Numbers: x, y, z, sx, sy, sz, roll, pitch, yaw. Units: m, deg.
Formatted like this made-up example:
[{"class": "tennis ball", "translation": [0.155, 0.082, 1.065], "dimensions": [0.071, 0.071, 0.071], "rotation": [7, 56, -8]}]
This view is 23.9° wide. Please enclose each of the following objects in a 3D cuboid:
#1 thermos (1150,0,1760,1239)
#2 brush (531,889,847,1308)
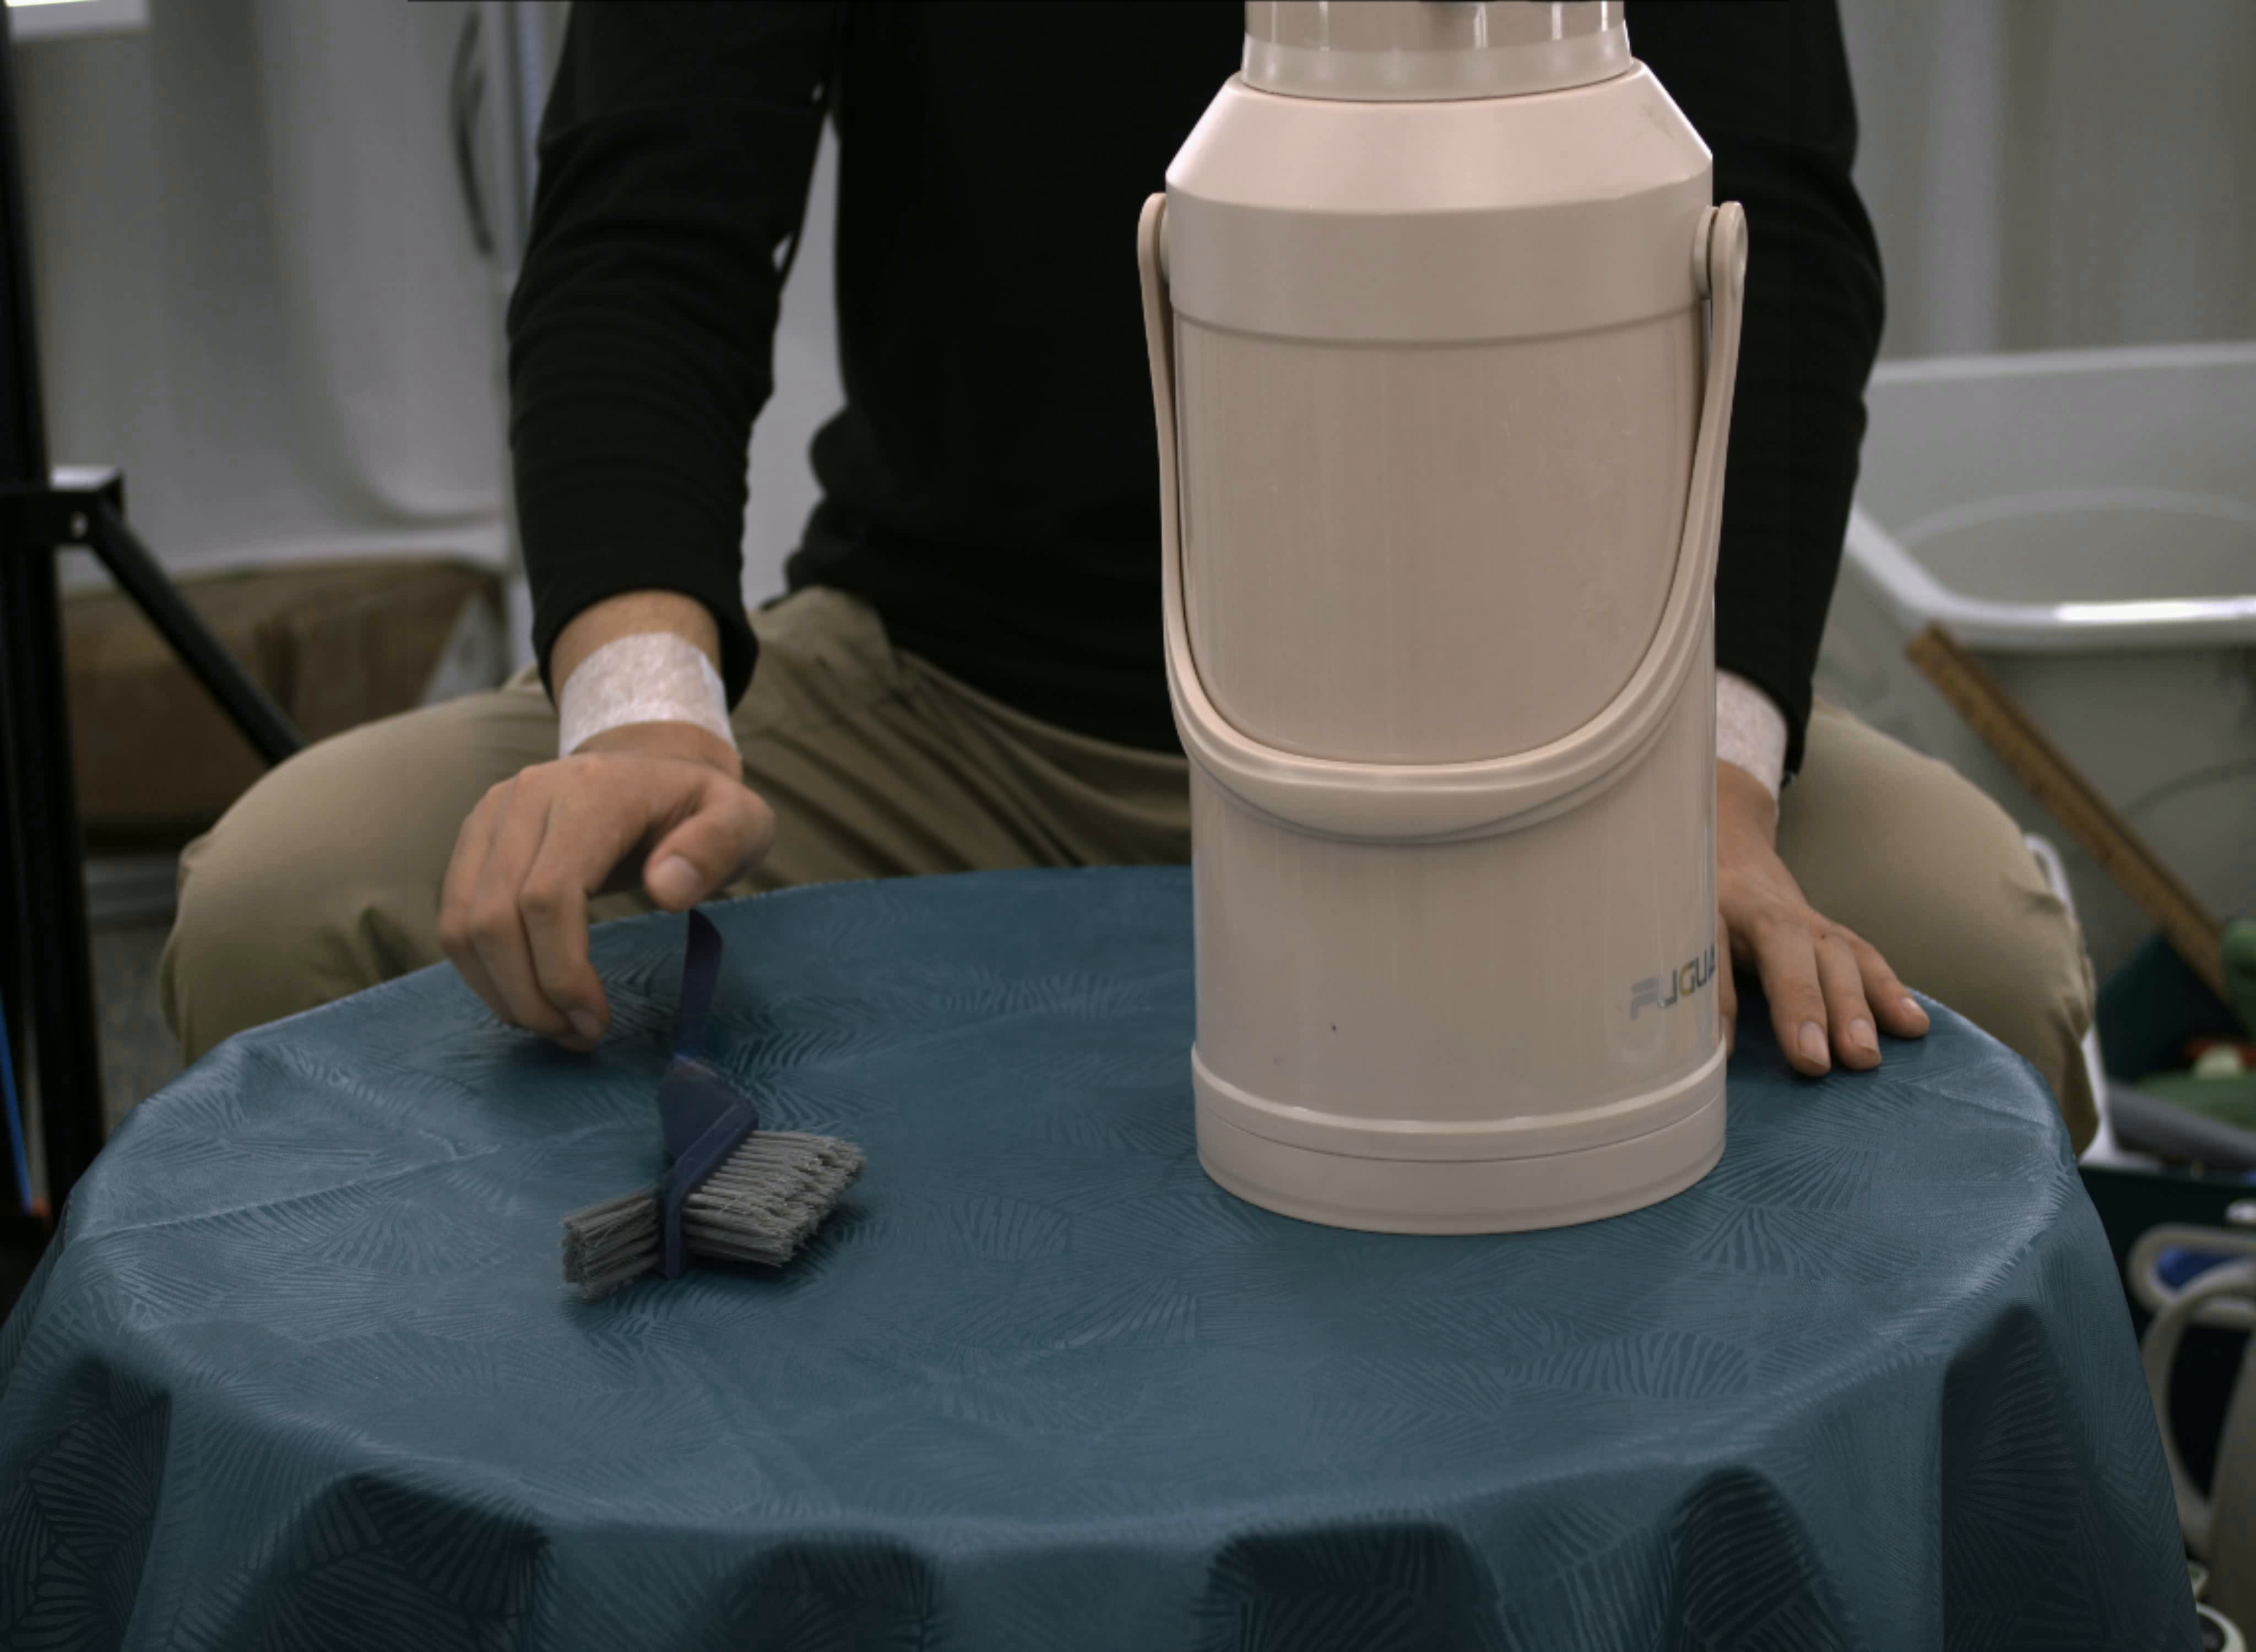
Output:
[{"class": "thermos", "translation": [0.101, -0.098, 1.544], "dimensions": [0.177, 0.406, 0.205], "rotation": [2, 16, 19]}, {"class": "brush", "translation": [-0.141, 0.079, 1.621], "dimensions": [0.095, 0.033, 0.276], "rotation": [-4, 18, -8]}]
